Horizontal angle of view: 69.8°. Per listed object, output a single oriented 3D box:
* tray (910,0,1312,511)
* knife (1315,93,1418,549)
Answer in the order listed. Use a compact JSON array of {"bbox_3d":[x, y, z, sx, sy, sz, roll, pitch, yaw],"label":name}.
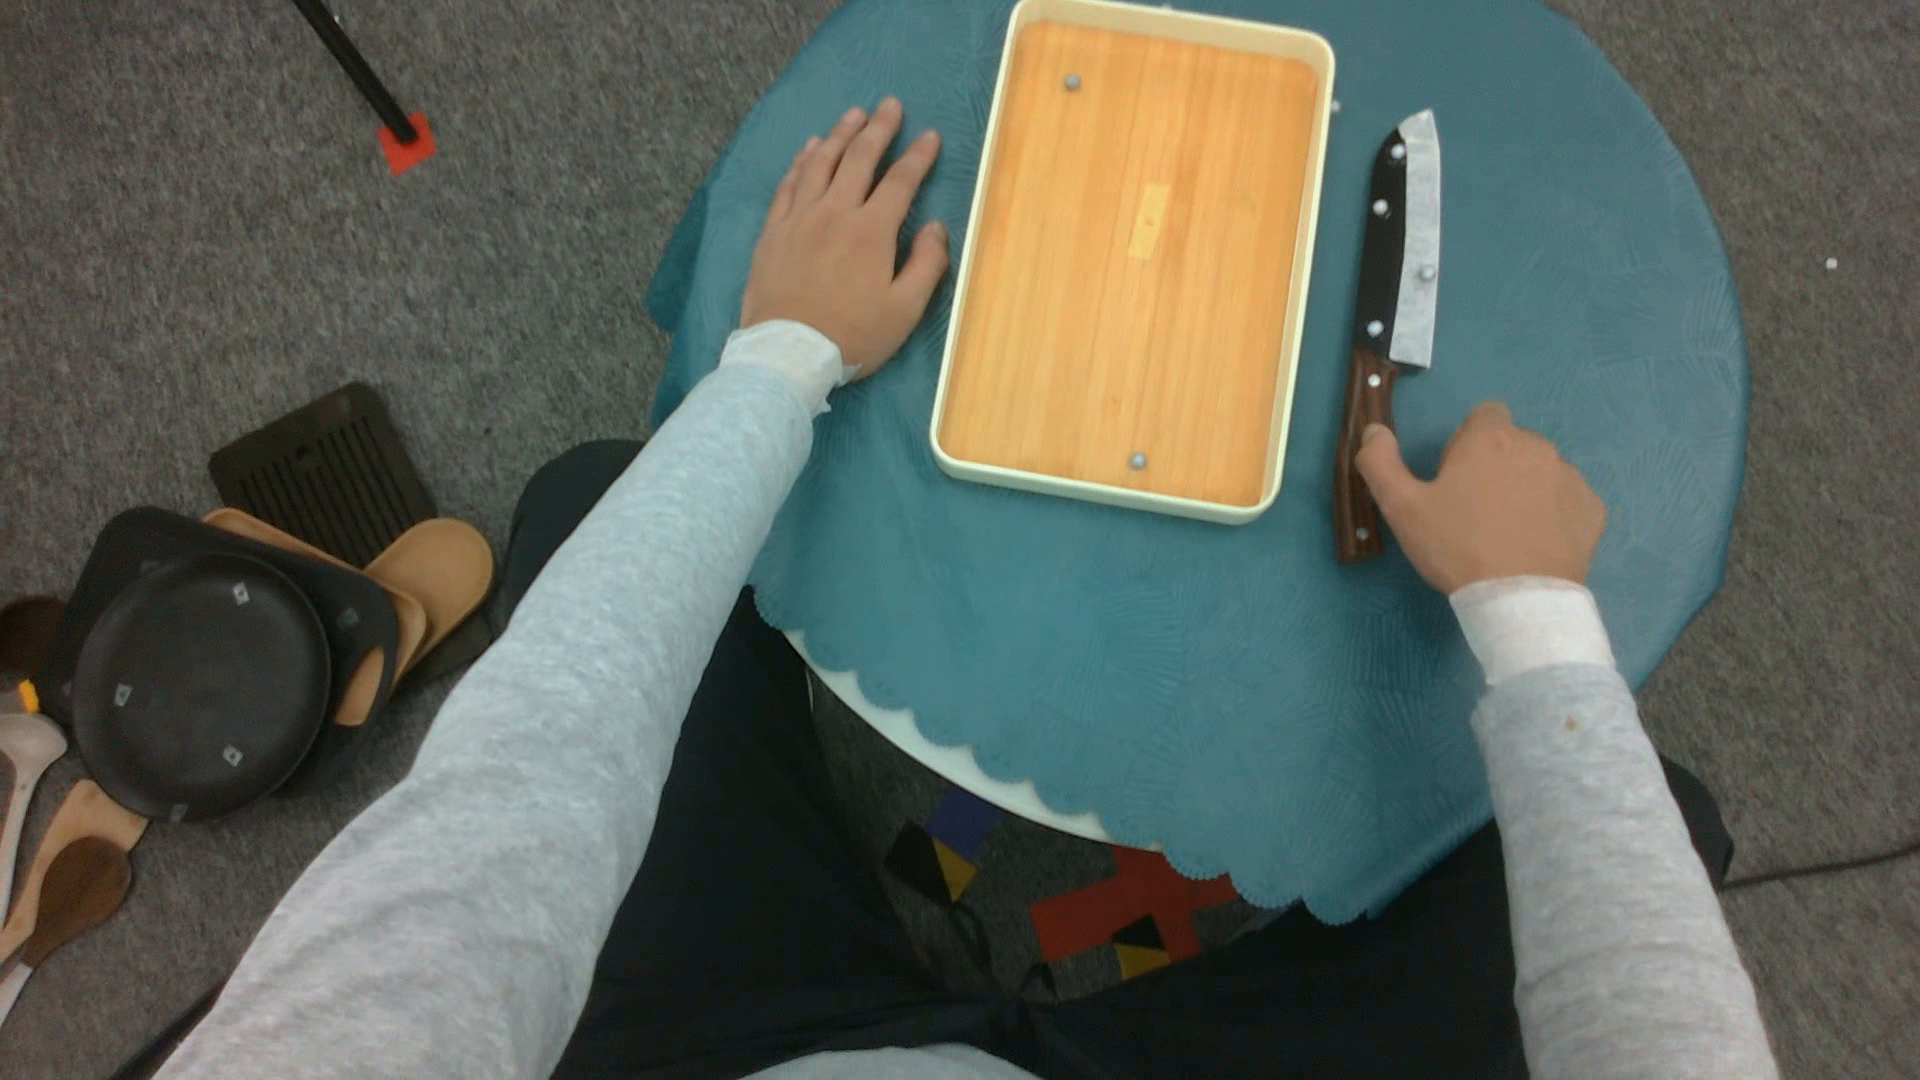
[{"bbox_3d":[0.088,-0.173,0.777,0.191,0.027,0.301,10,75,2],"label":"tray"},{"bbox_3d":[0.230,-0.130,0.773,0.050,0.020,0.290,13,73,-1],"label":"knife"}]
